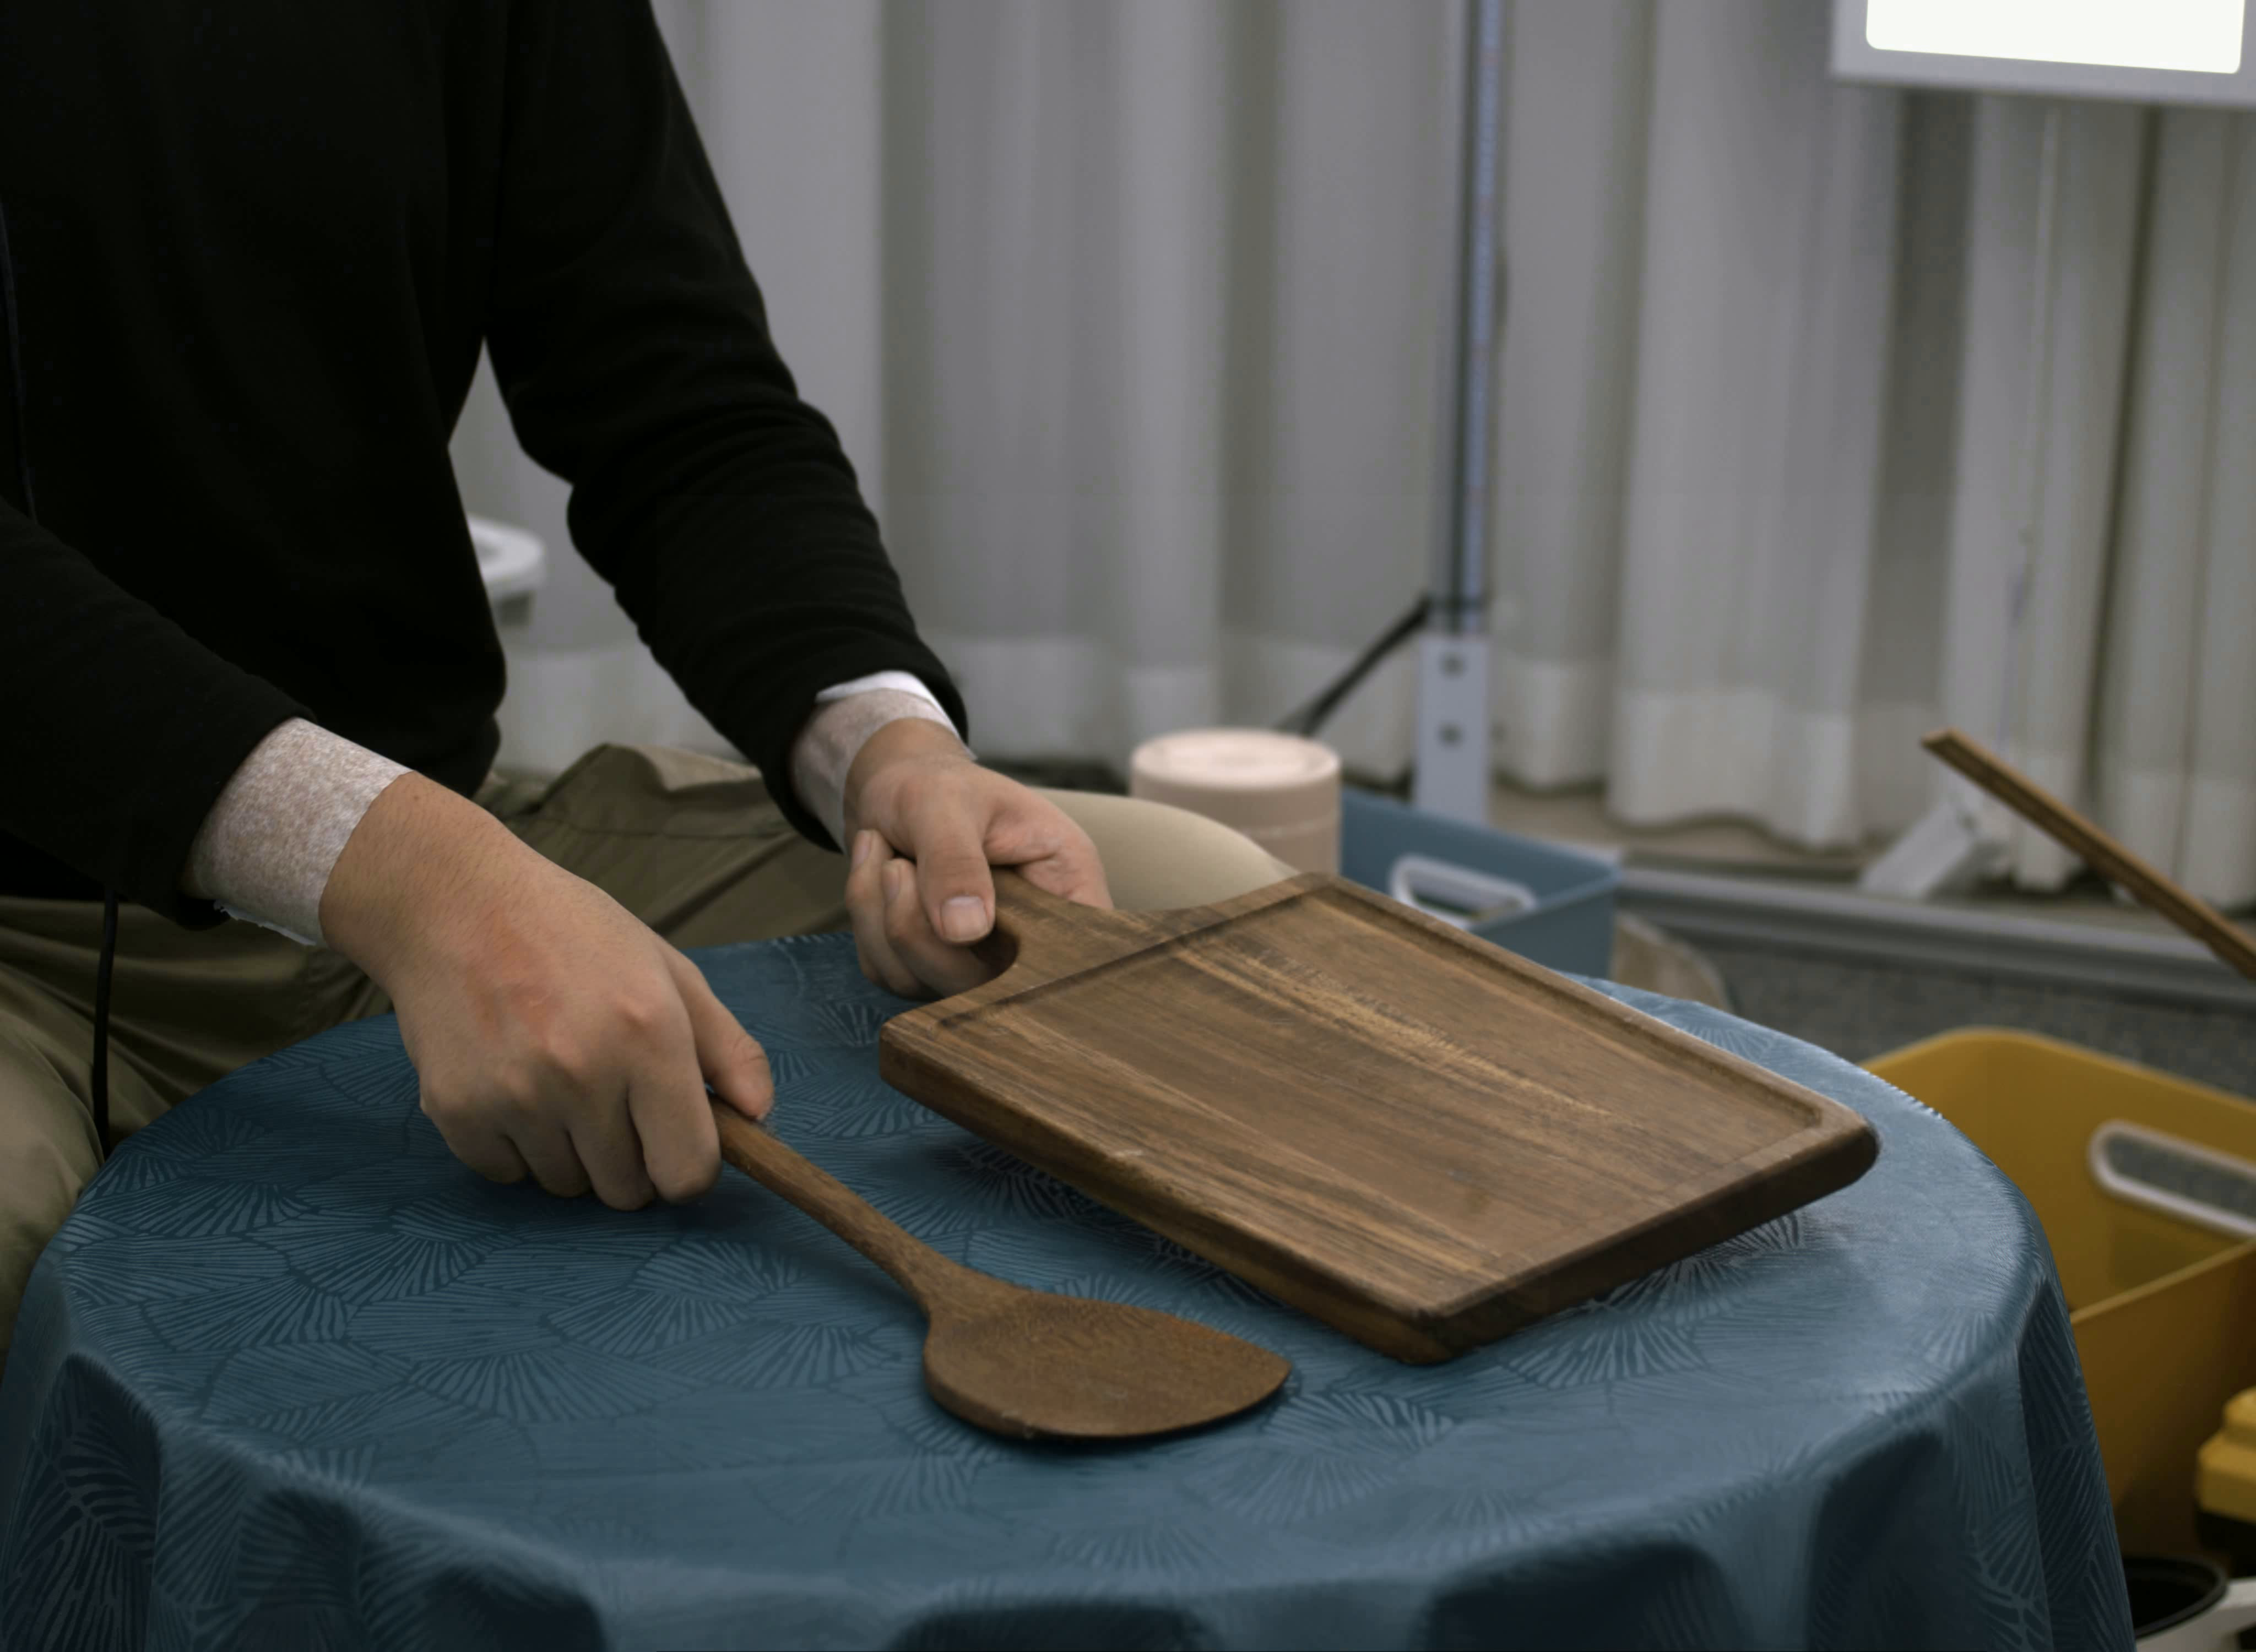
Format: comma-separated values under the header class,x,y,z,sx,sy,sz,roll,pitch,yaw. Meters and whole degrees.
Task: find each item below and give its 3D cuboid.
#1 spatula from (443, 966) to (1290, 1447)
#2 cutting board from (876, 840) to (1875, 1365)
class,x,y,z,sx,sy,sz,roll,pitch,yaw
spatula,-0.099,0.105,1.563,0.096,0.016,0.380,-10,25,-38
cutting board,0.041,0.067,1.650,0.202,0.023,0.347,-19,31,-38
